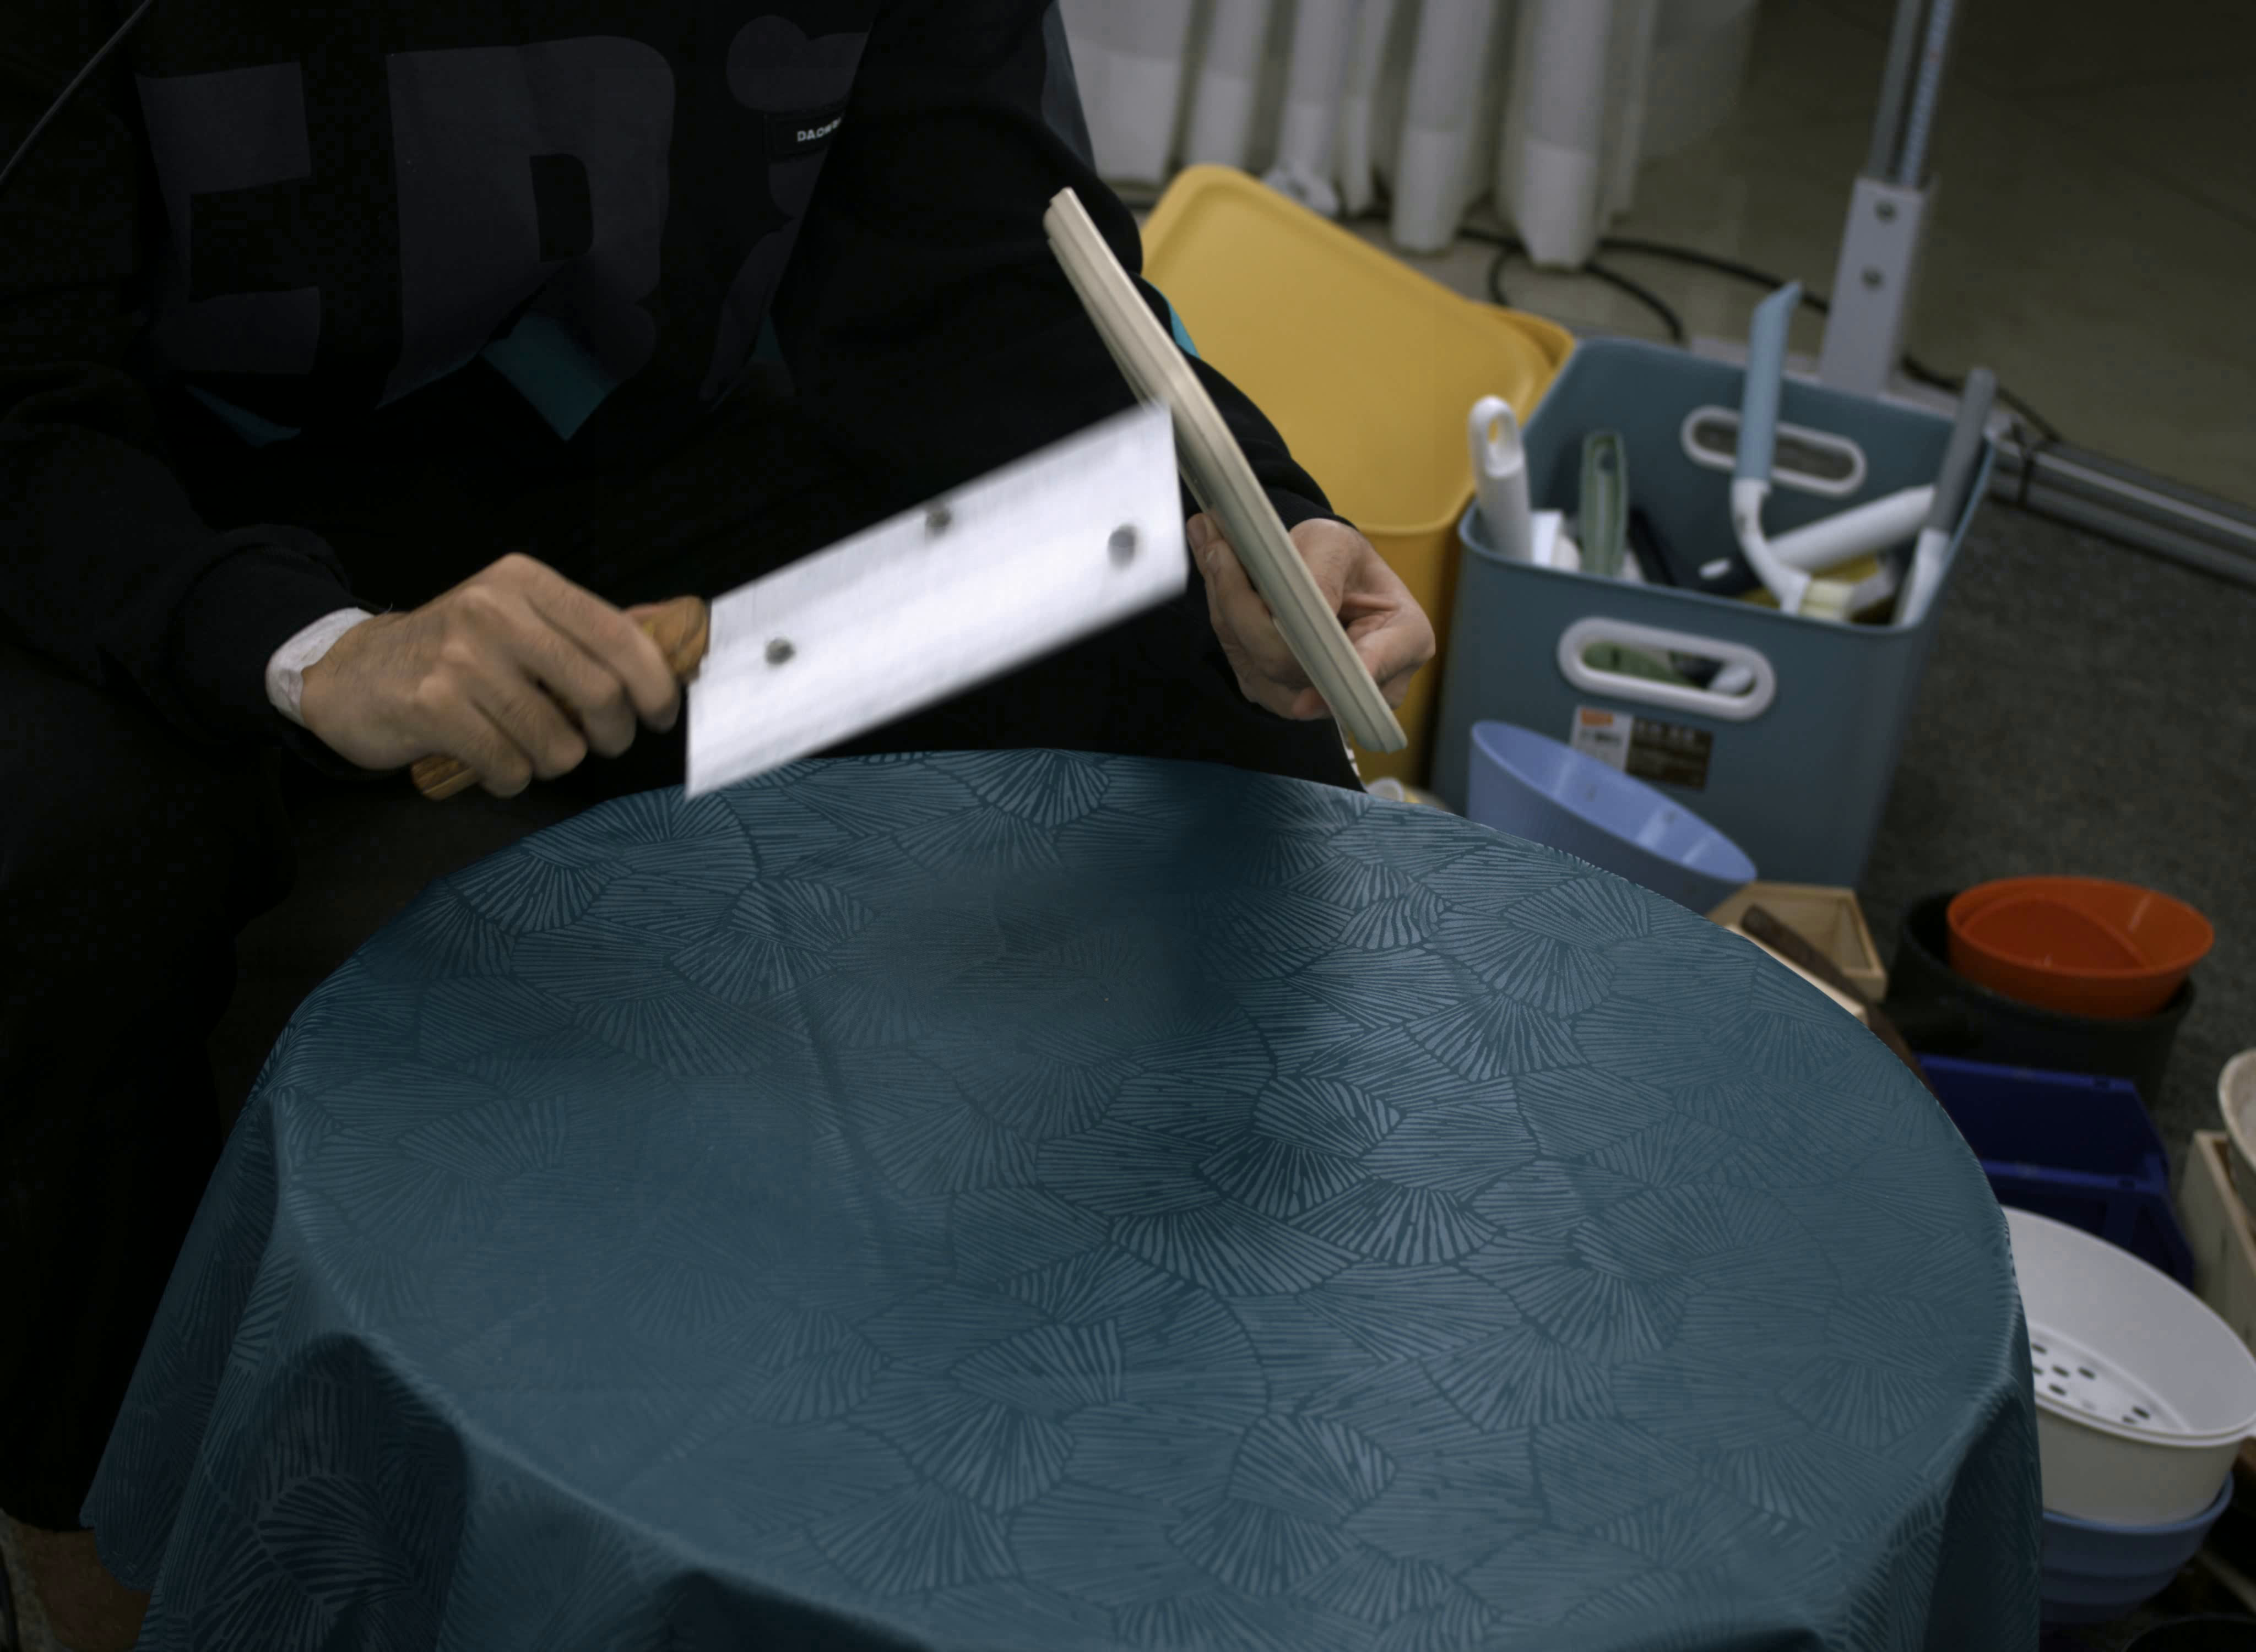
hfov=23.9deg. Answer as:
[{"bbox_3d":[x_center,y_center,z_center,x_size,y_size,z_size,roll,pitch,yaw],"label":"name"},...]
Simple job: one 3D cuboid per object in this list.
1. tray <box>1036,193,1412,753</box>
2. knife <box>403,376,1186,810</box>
[{"bbox_3d":[0.030,-0.127,1.908,0.017,0.170,0.241,-32,28,2],"label":"tray"},{"bbox_3d":[-0.116,-0.062,1.803,0.306,0.021,0.094,-25,43,16],"label":"knife"}]
